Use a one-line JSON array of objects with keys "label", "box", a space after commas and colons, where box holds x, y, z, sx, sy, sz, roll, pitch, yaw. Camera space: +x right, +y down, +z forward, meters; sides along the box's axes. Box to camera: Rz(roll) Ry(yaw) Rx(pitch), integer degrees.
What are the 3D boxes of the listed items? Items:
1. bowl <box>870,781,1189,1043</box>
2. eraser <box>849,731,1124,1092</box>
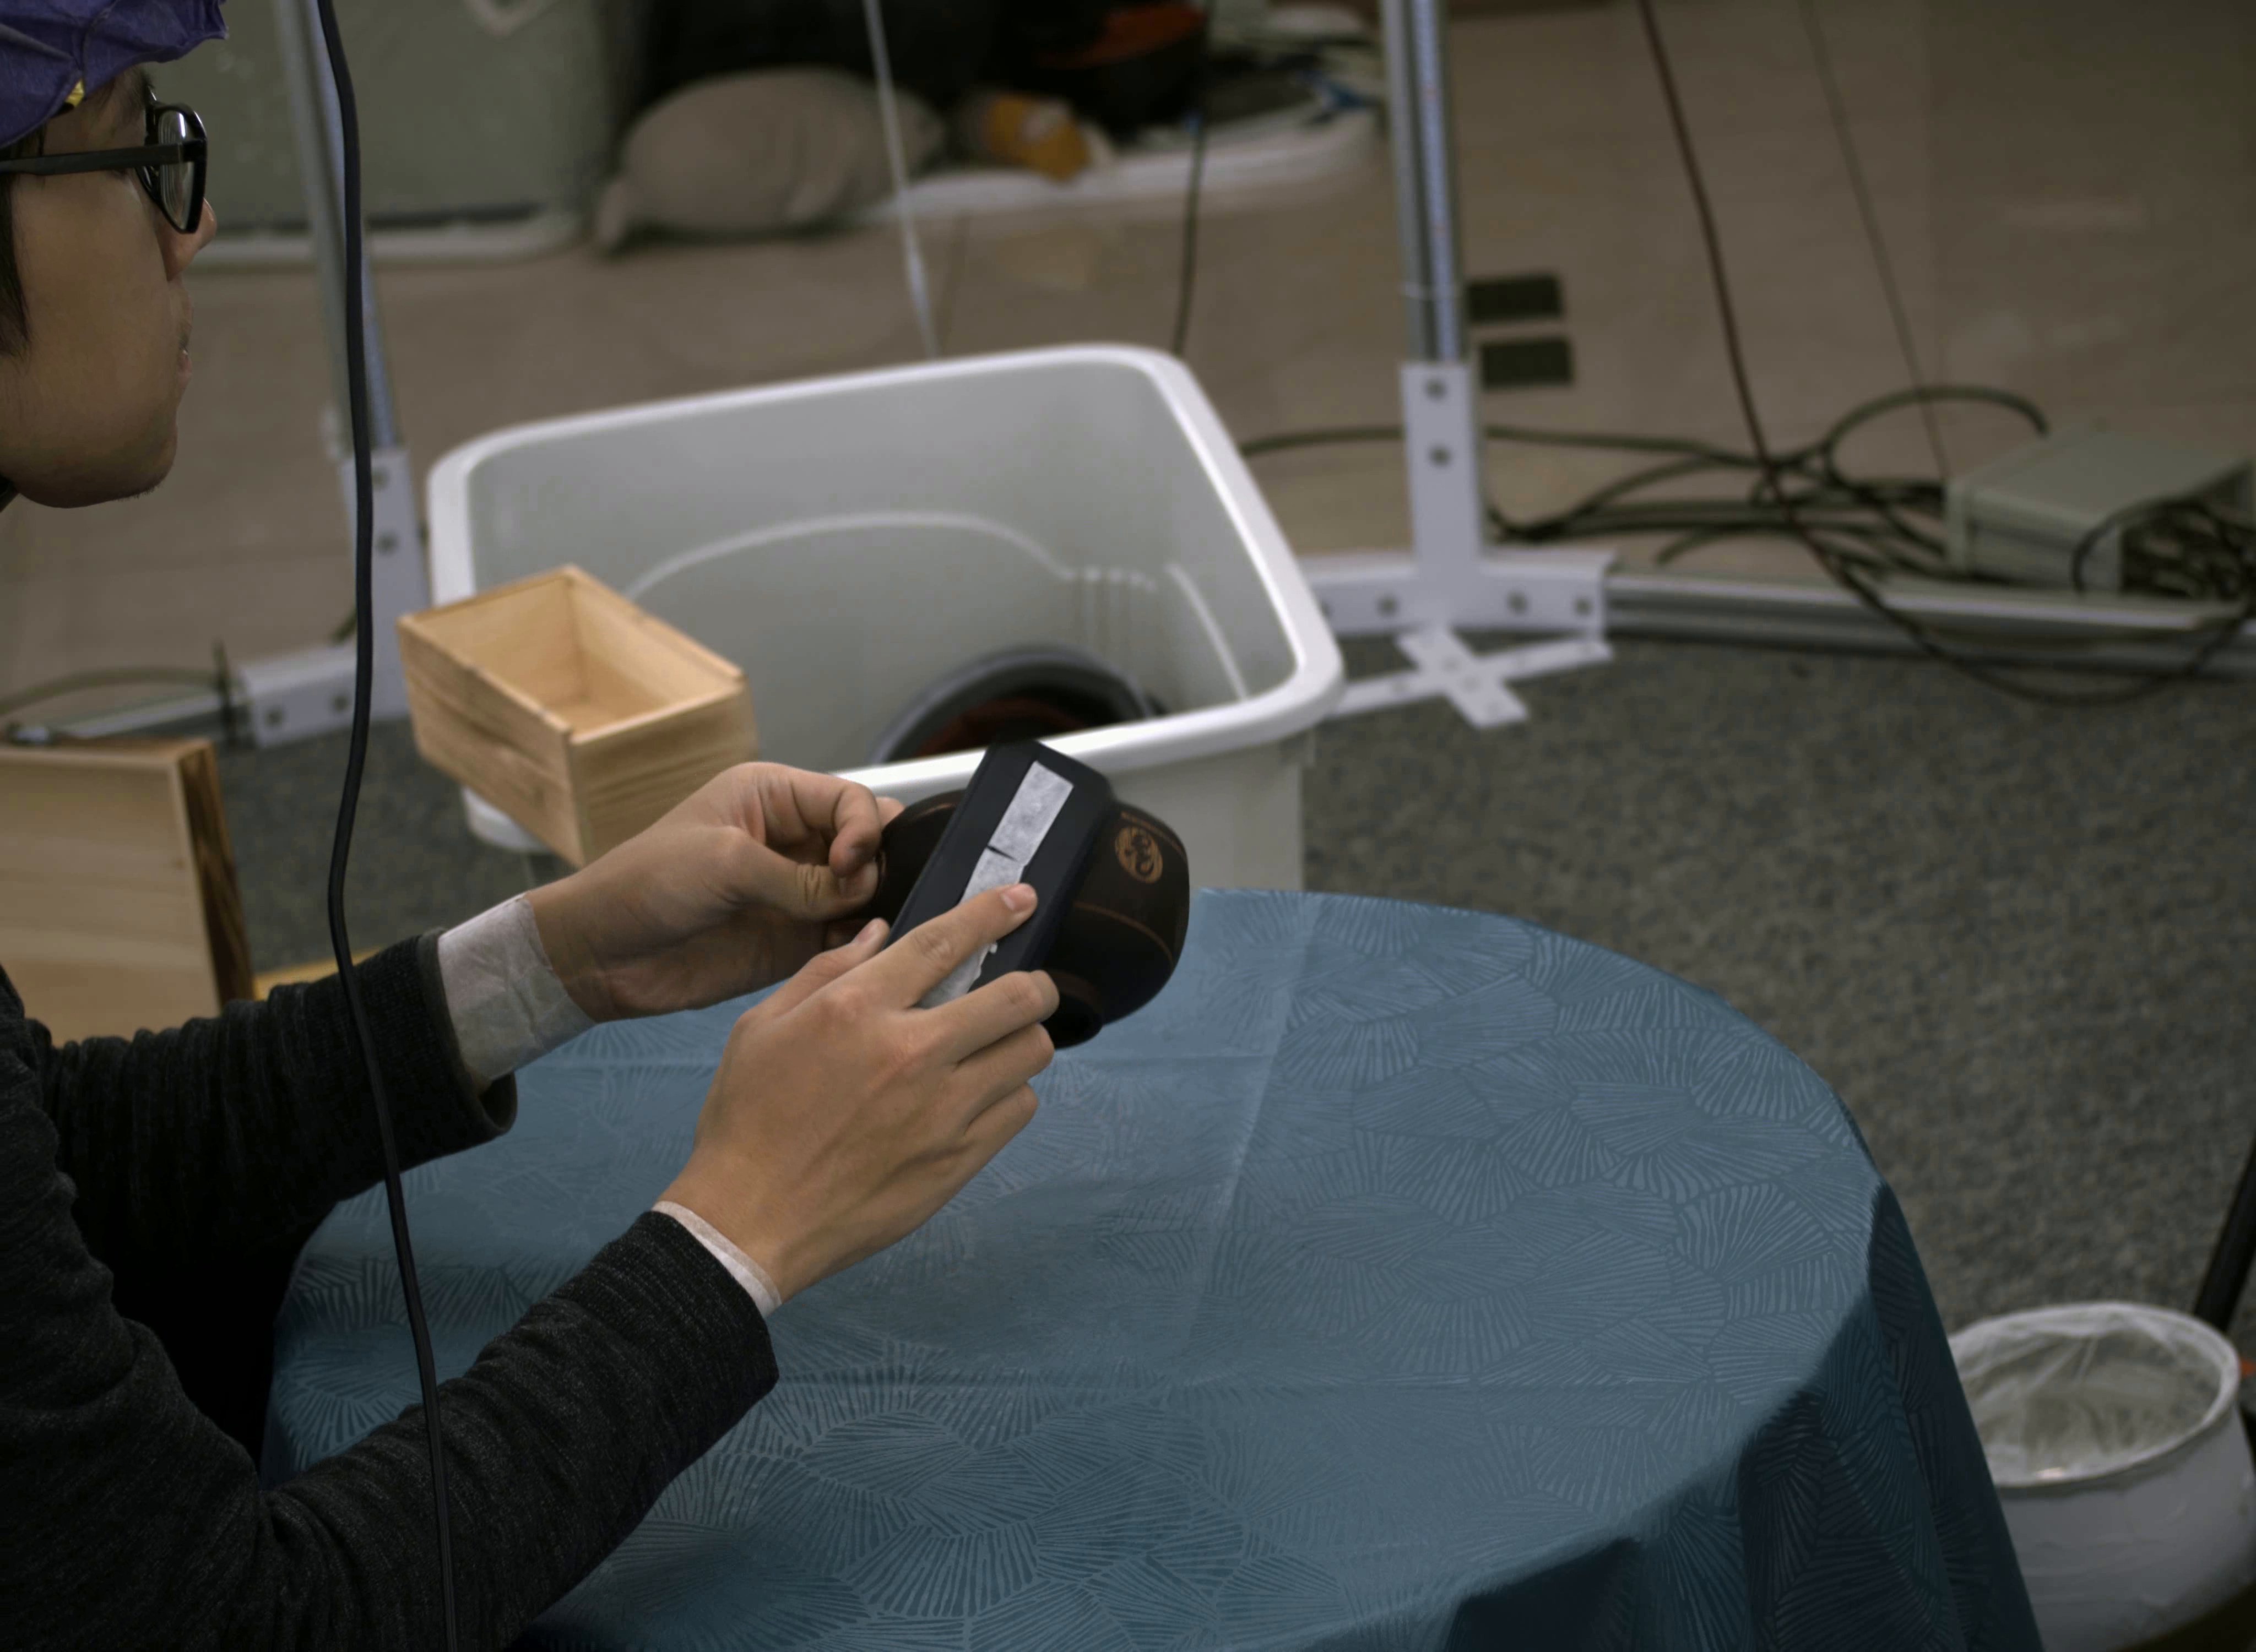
[{"label": "bowl", "box": [-0.037, 0.038, 2.079, 0.118, 0.119, 0.069, -2, 66, 9]}, {"label": "eraser", "box": [-0.050, 0.029, 2.004, 0.053, 0.031, 0.124, 24, 69, 5]}]
